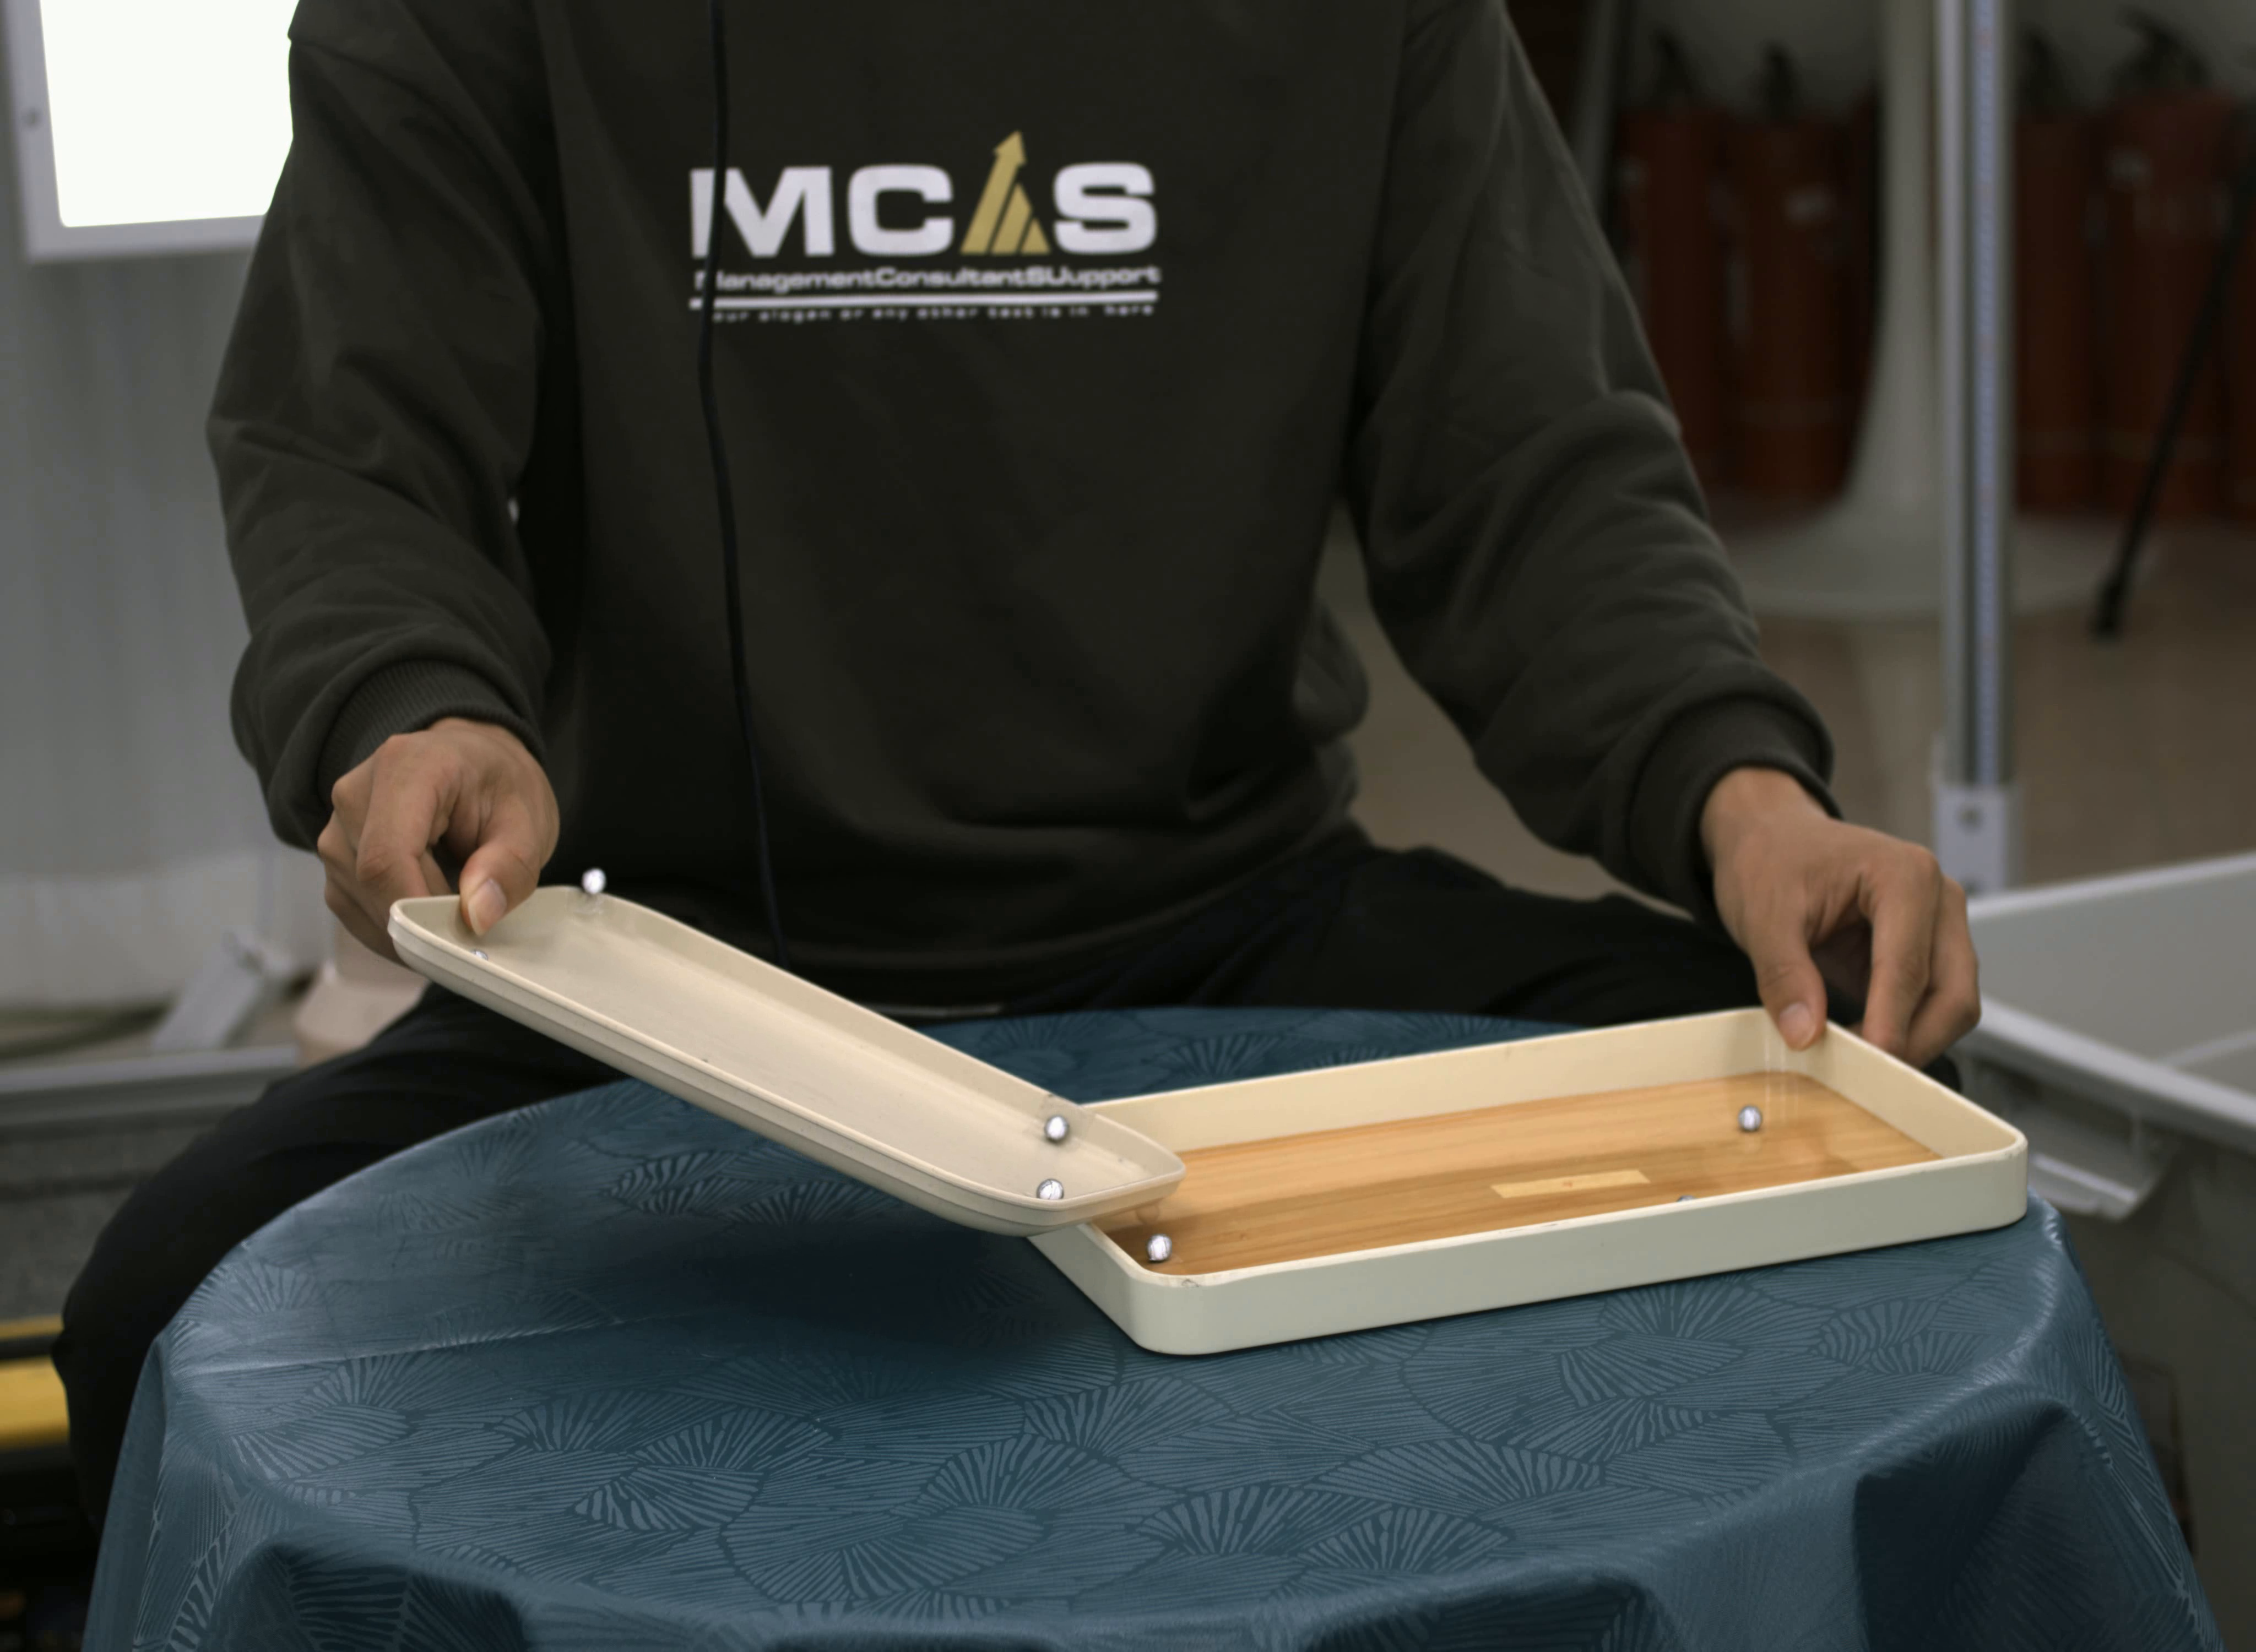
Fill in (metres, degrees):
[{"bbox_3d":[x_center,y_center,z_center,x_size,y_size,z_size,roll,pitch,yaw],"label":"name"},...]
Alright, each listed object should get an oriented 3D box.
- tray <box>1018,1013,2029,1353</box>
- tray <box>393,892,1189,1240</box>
[{"bbox_3d":[0.119,0.112,1.729,0.294,0.028,0.193,-7,13,-16],"label":"tray"},{"bbox_3d":[-0.105,0.074,1.691,0.240,0.017,0.169,23,9,19],"label":"tray"}]
